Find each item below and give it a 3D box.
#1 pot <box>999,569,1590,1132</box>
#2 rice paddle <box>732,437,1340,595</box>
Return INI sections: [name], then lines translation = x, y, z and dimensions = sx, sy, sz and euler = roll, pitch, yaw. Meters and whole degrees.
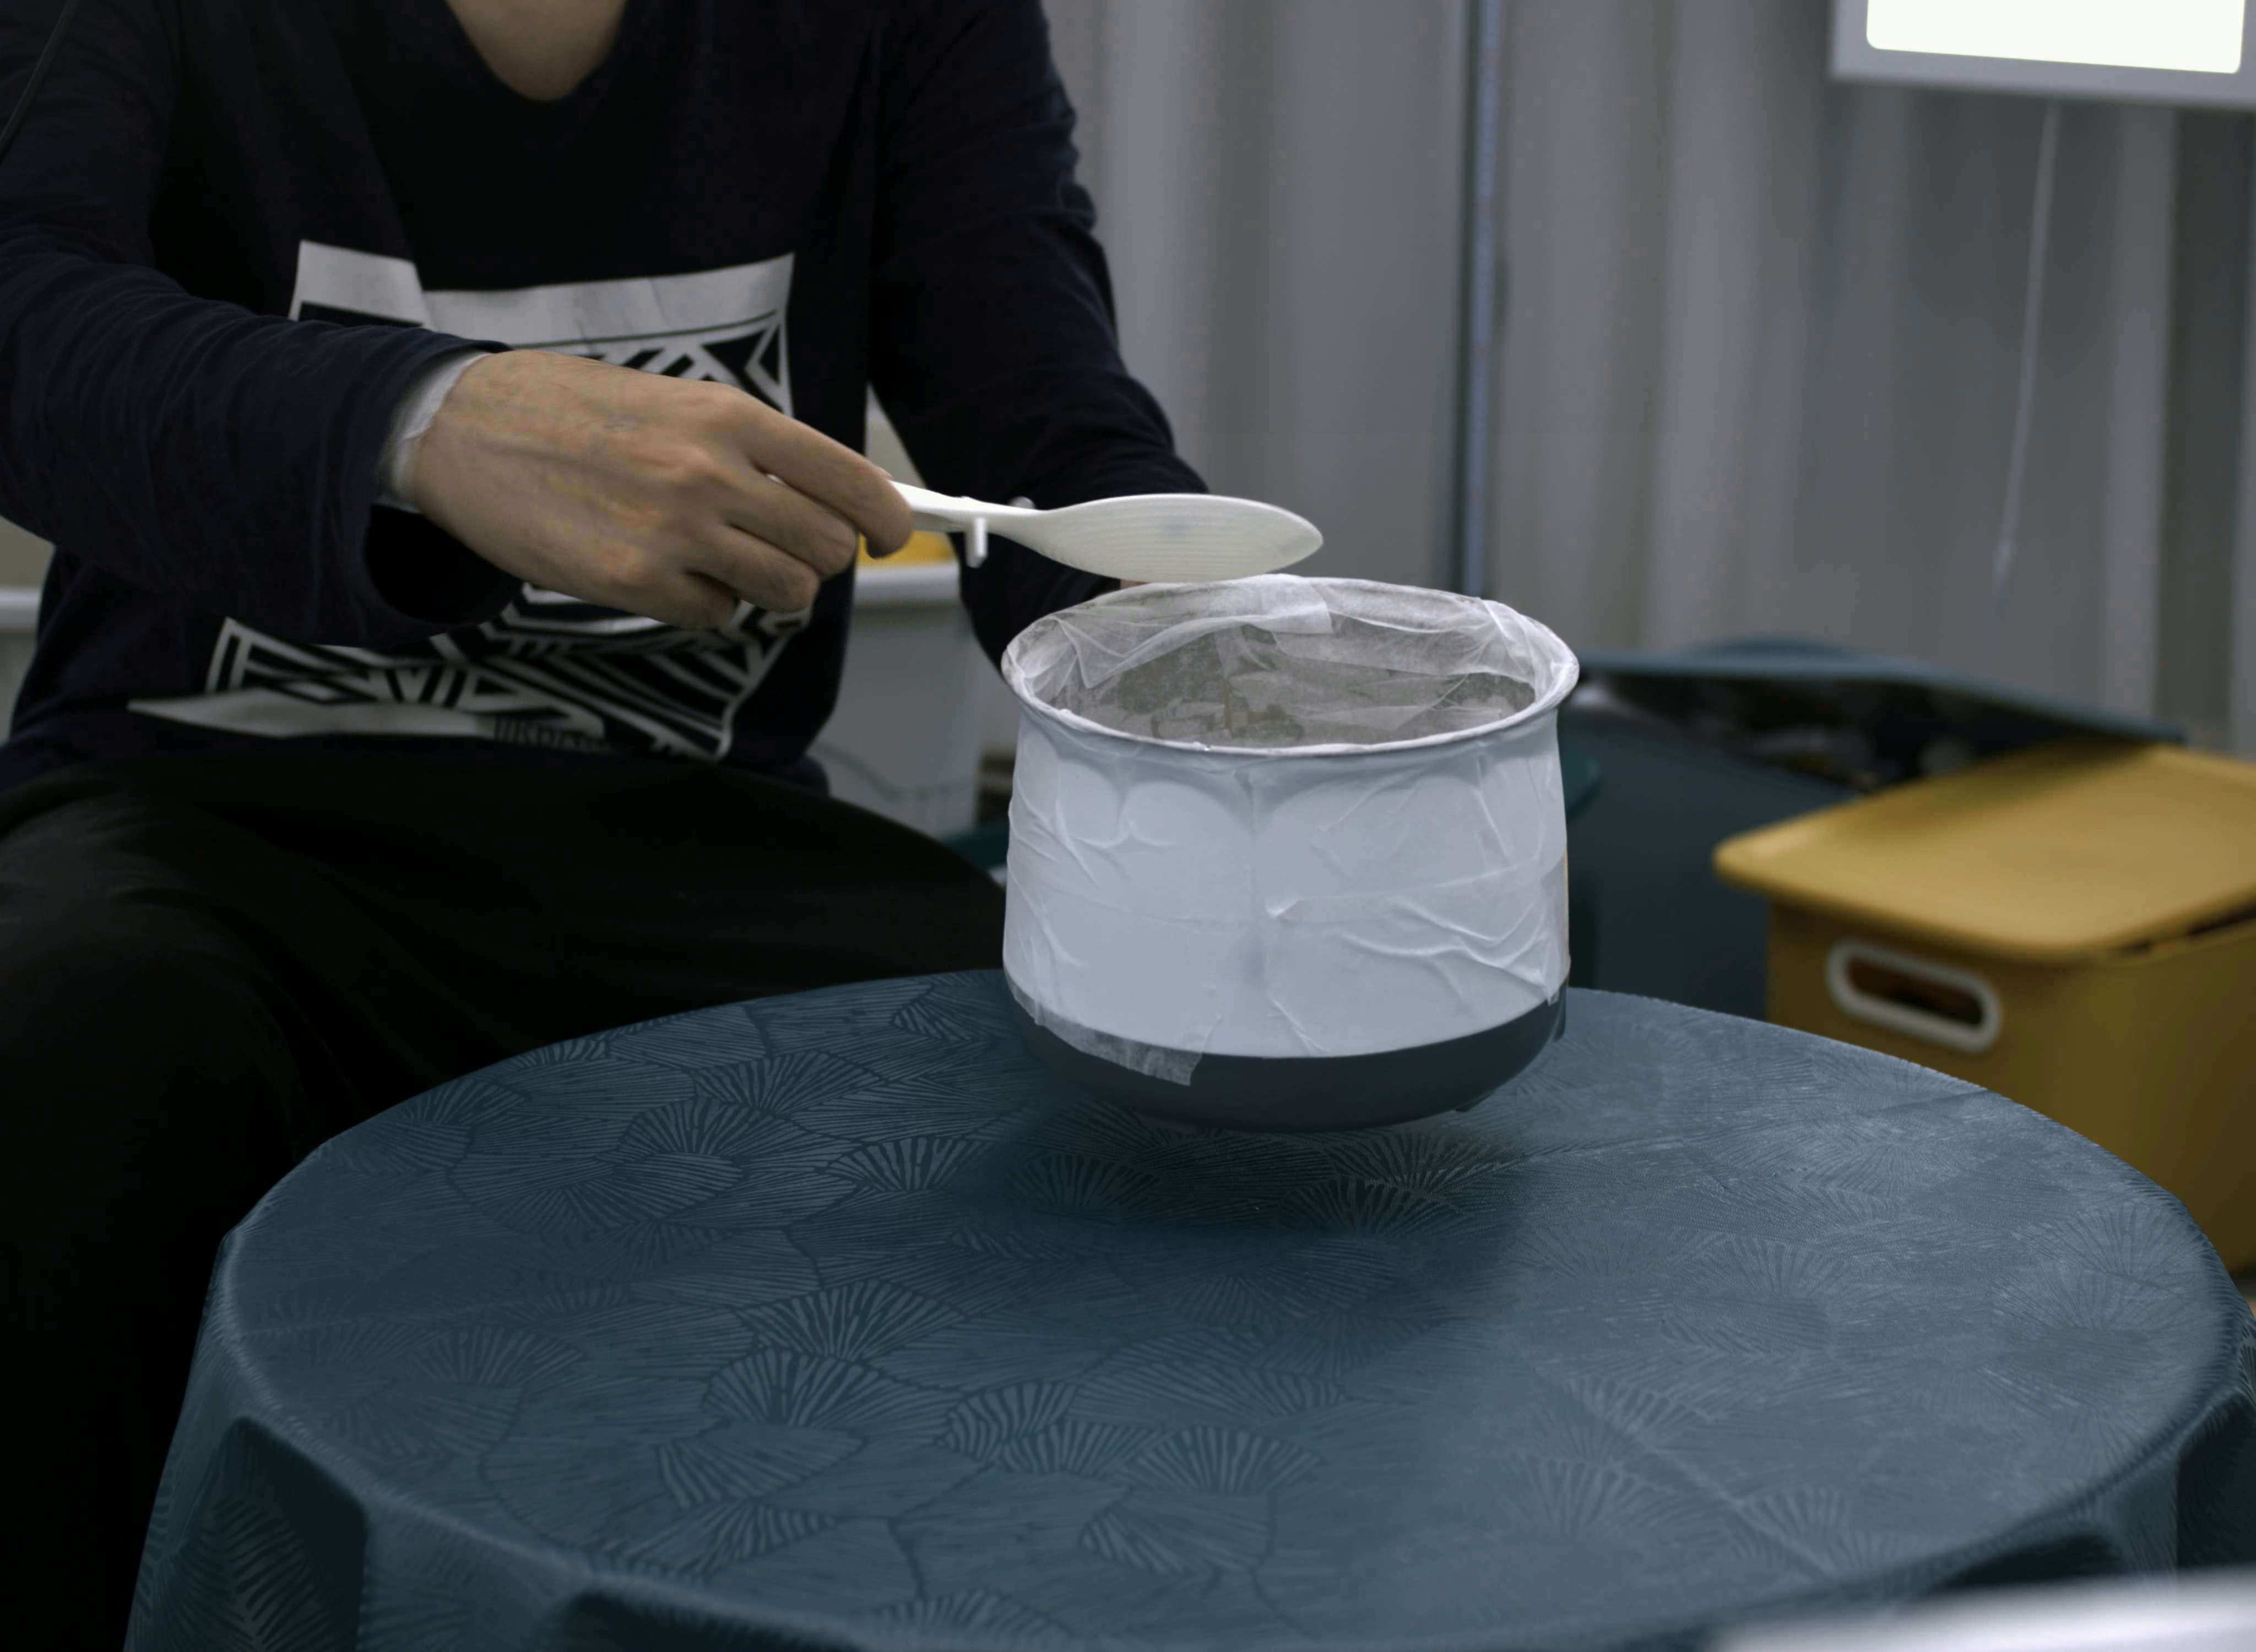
[pot]
translation = 0.042, -0.002, 1.652
dimensions = 0.179, 0.138, 0.231
euler = -2, 21, -16
[rice paddle]
translation = -0.025, -0.094, 1.622
dimensions = 0.206, 0.029, 0.068
euler = 5, -23, -31
